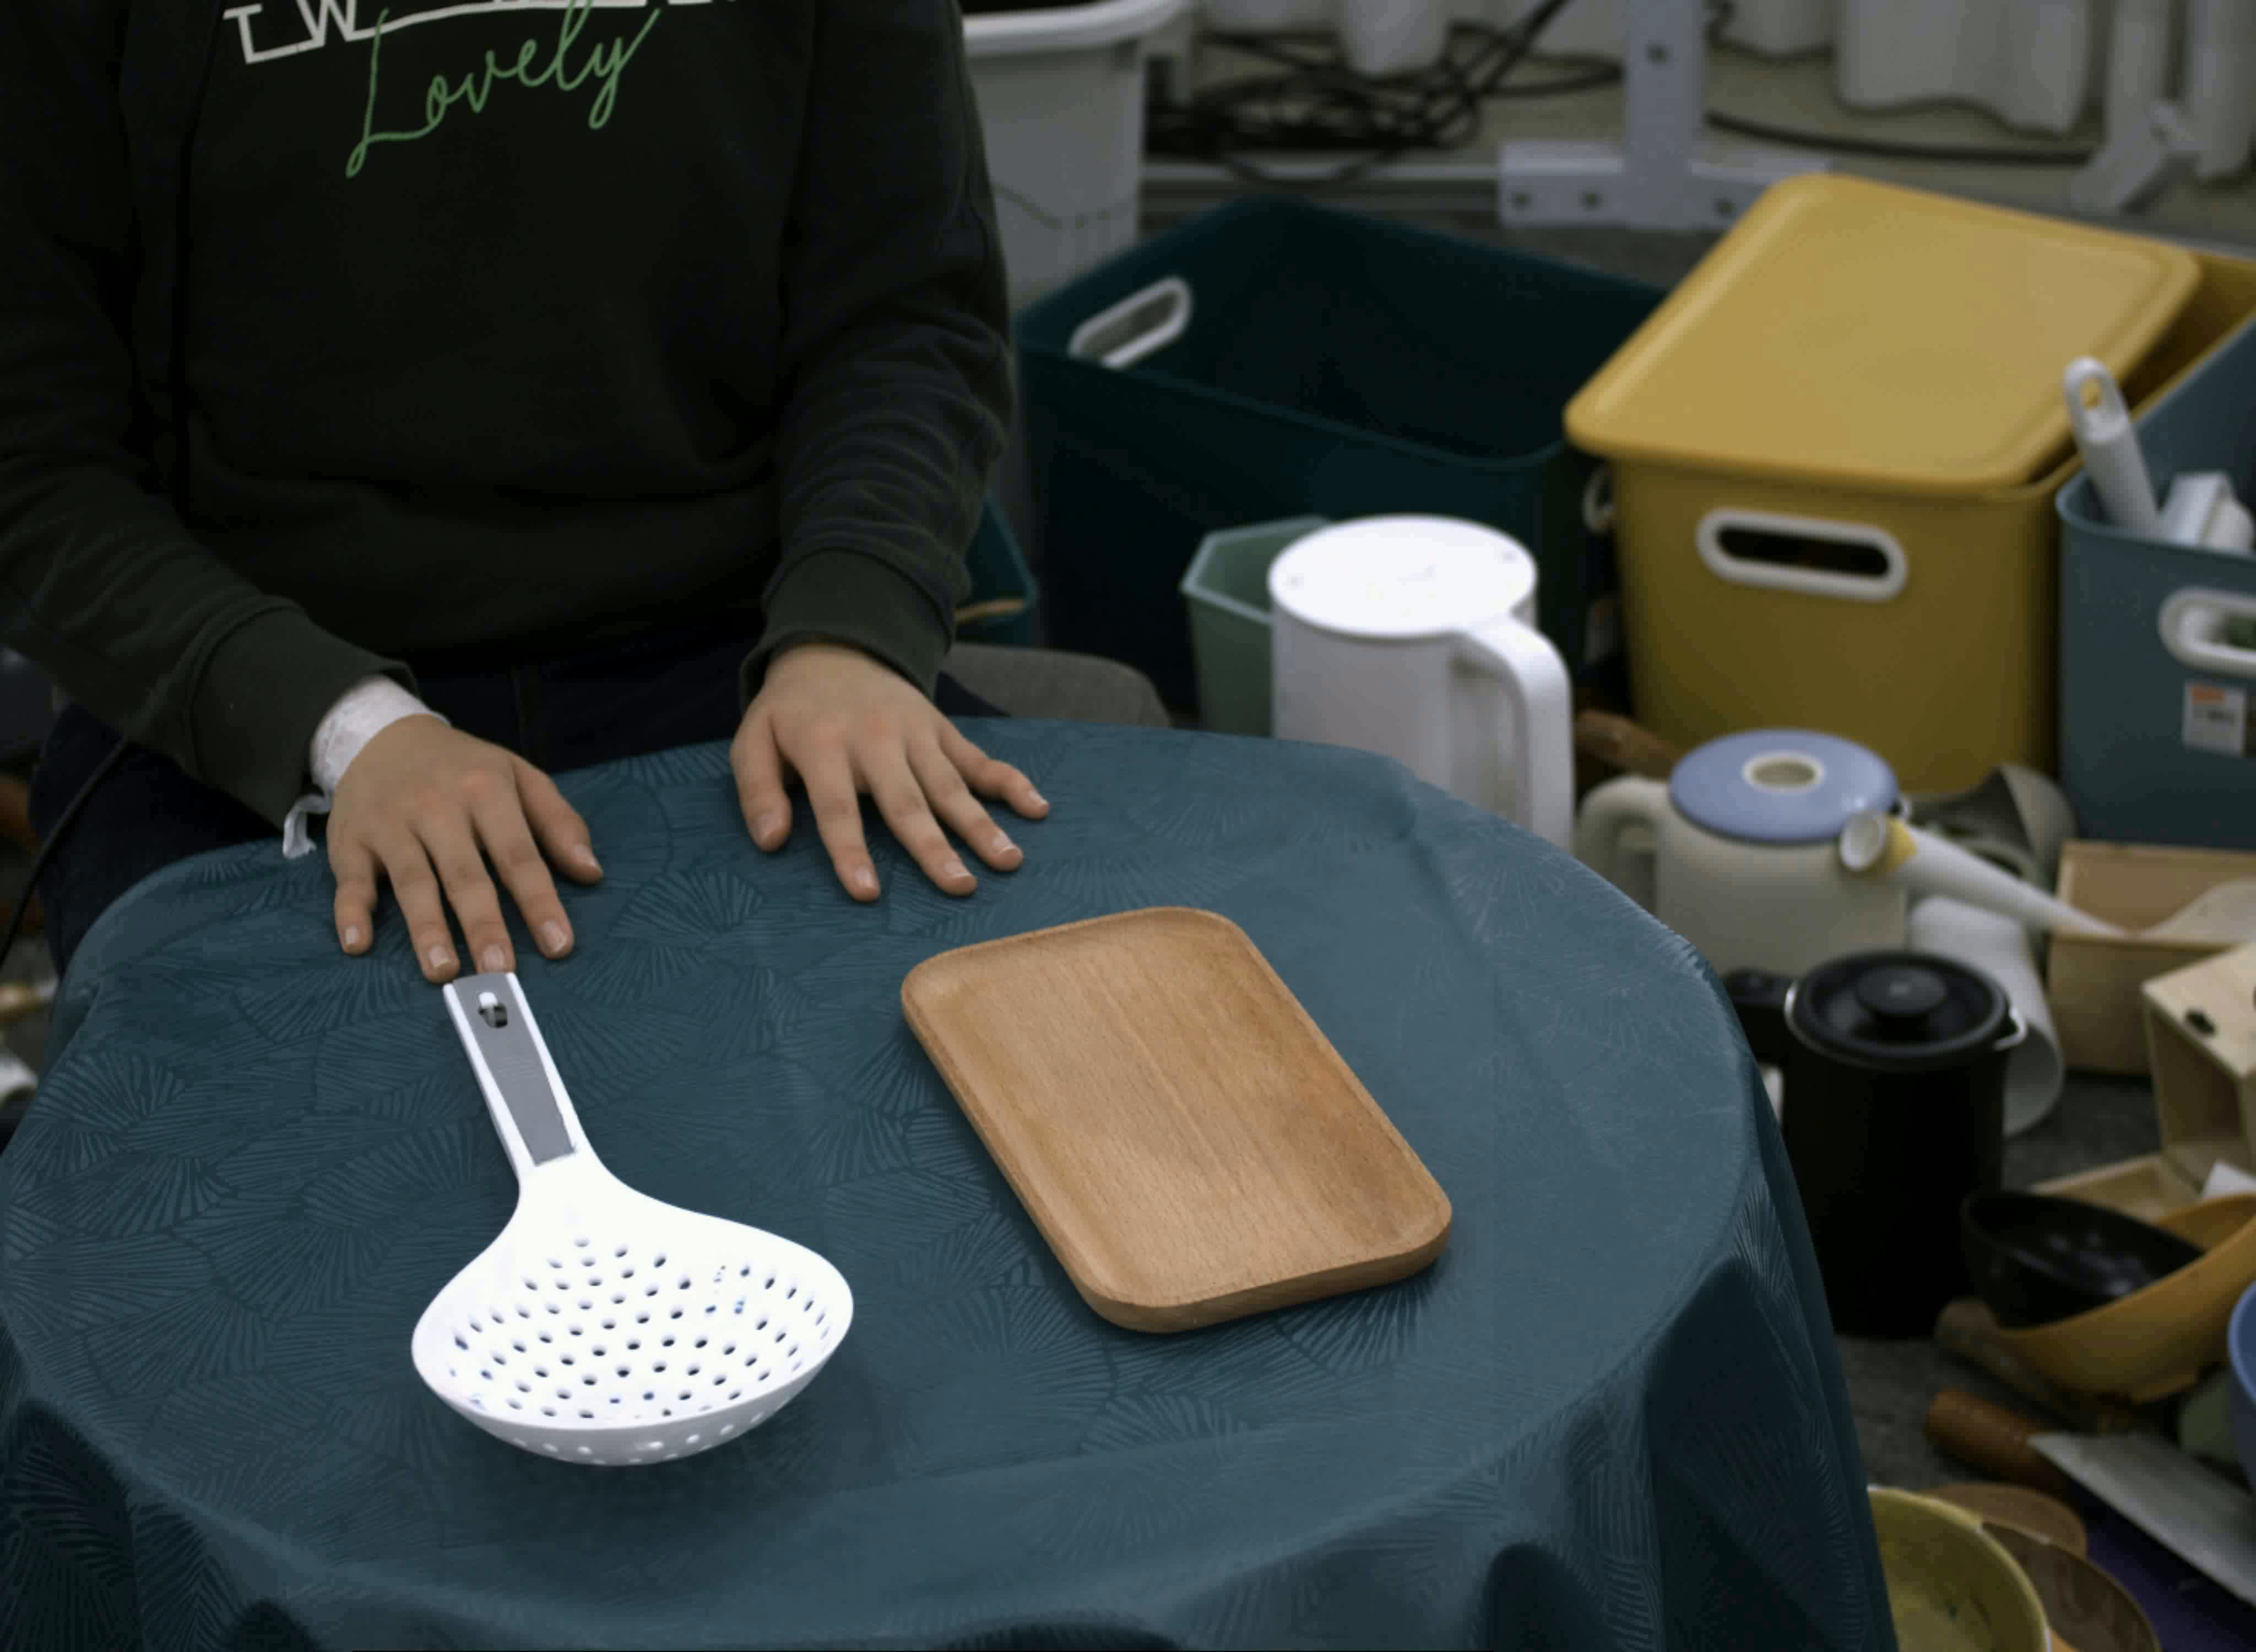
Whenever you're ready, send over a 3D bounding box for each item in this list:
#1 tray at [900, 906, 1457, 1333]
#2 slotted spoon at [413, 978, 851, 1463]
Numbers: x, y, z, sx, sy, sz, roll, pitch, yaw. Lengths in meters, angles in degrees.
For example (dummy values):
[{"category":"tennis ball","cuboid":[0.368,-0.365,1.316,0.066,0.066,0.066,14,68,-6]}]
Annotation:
[{"category":"tray","cuboid":[0.013,0.096,1.891,0.131,0.022,0.253,-9,27,-16]},{"category":"slotted spoon","cuboid":[-0.182,0.122,1.830,0.136,0.045,0.353,-8,27,-14]}]
